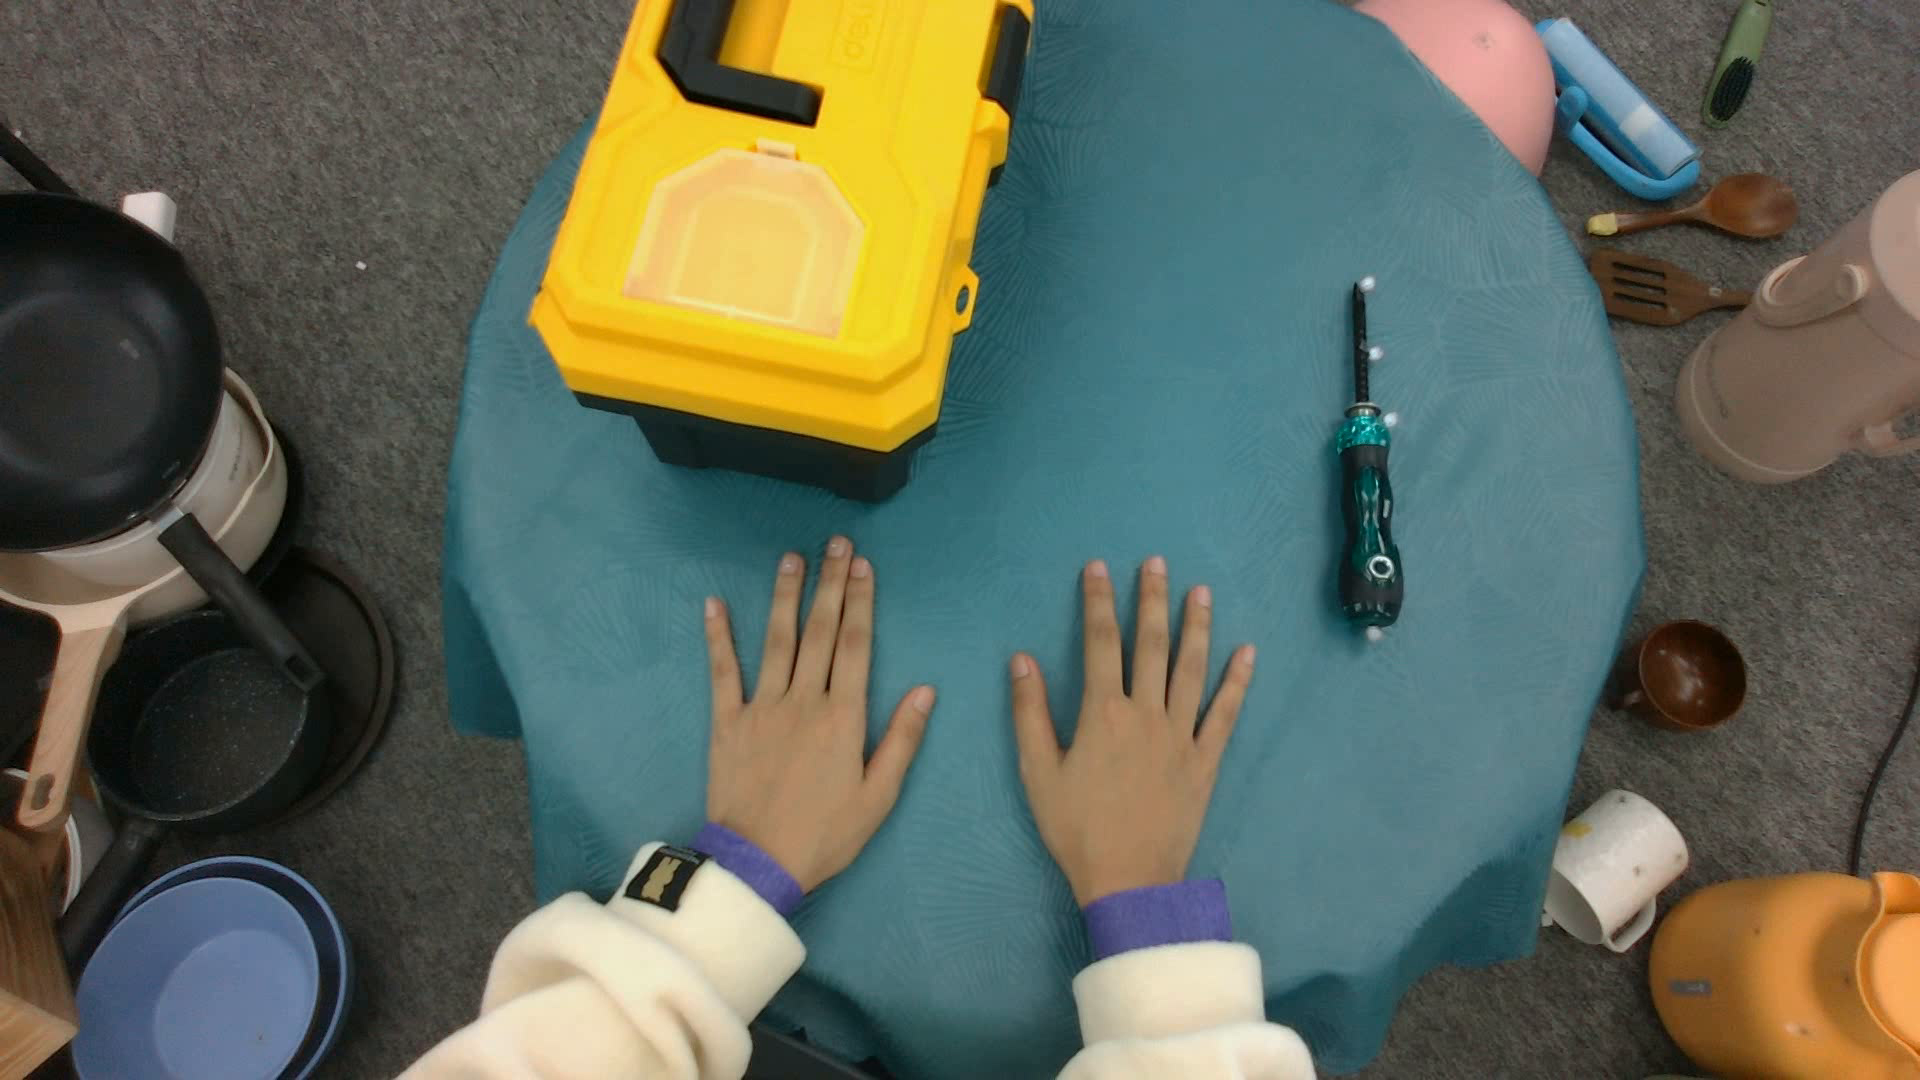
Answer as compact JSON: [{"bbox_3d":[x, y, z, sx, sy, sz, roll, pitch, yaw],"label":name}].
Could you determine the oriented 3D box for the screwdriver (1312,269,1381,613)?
[{"bbox_3d":[0.192,-0.055,0.696,0.034,0.033,0.190,4,67,-1],"label":"screwdriver"}]

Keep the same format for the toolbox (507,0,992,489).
[{"bbox_3d":[-0.073,-0.206,0.650,0.181,0.172,0.352,11,72,1],"label":"toolbox"}]
